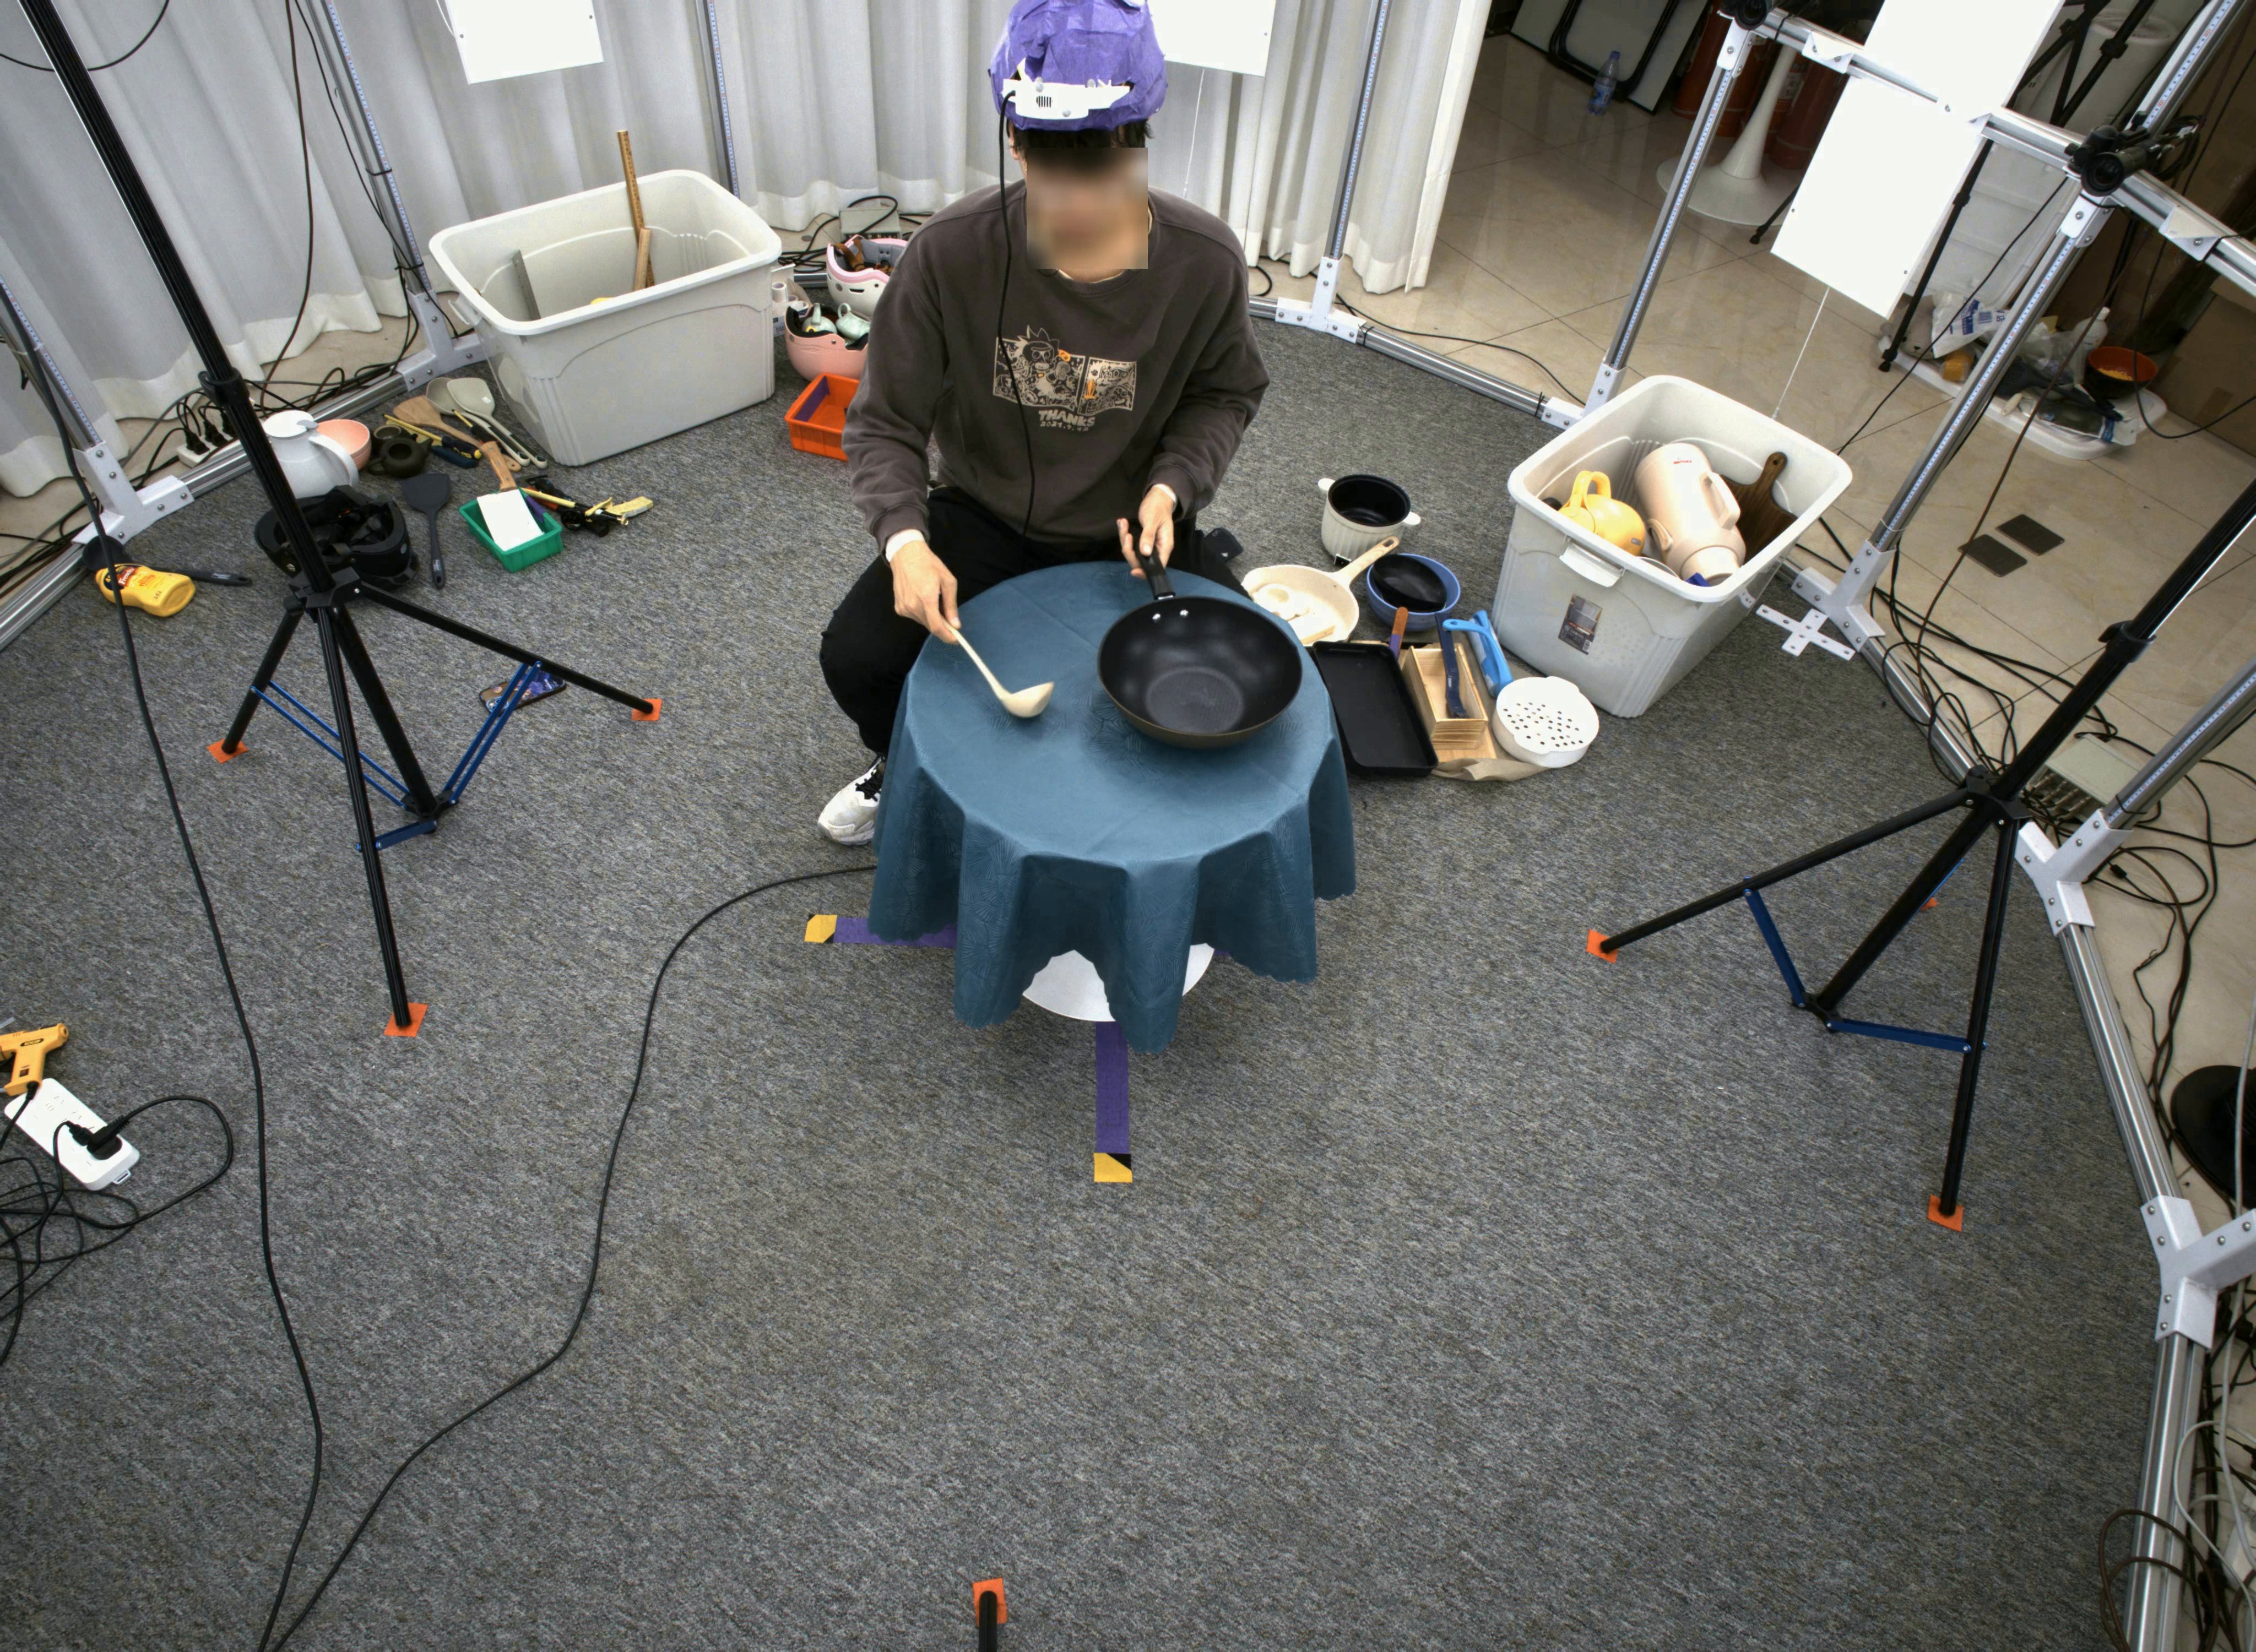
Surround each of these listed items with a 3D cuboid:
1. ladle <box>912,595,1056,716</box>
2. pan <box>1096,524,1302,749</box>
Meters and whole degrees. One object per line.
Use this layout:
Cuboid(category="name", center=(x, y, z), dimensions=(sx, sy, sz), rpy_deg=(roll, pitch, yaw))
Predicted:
Cuboid(category="ladle", center=(-0.199, -0.257, 1.786), dimensions=(0.256, 0.072, 0.072), rpy_deg=(48, 32, 12))
Cuboid(category="pan", center=(0.070, -0.267, 1.849), dimensions=(0.288, 0.085, 0.475), rpy_deg=(-11, 50, -12))
